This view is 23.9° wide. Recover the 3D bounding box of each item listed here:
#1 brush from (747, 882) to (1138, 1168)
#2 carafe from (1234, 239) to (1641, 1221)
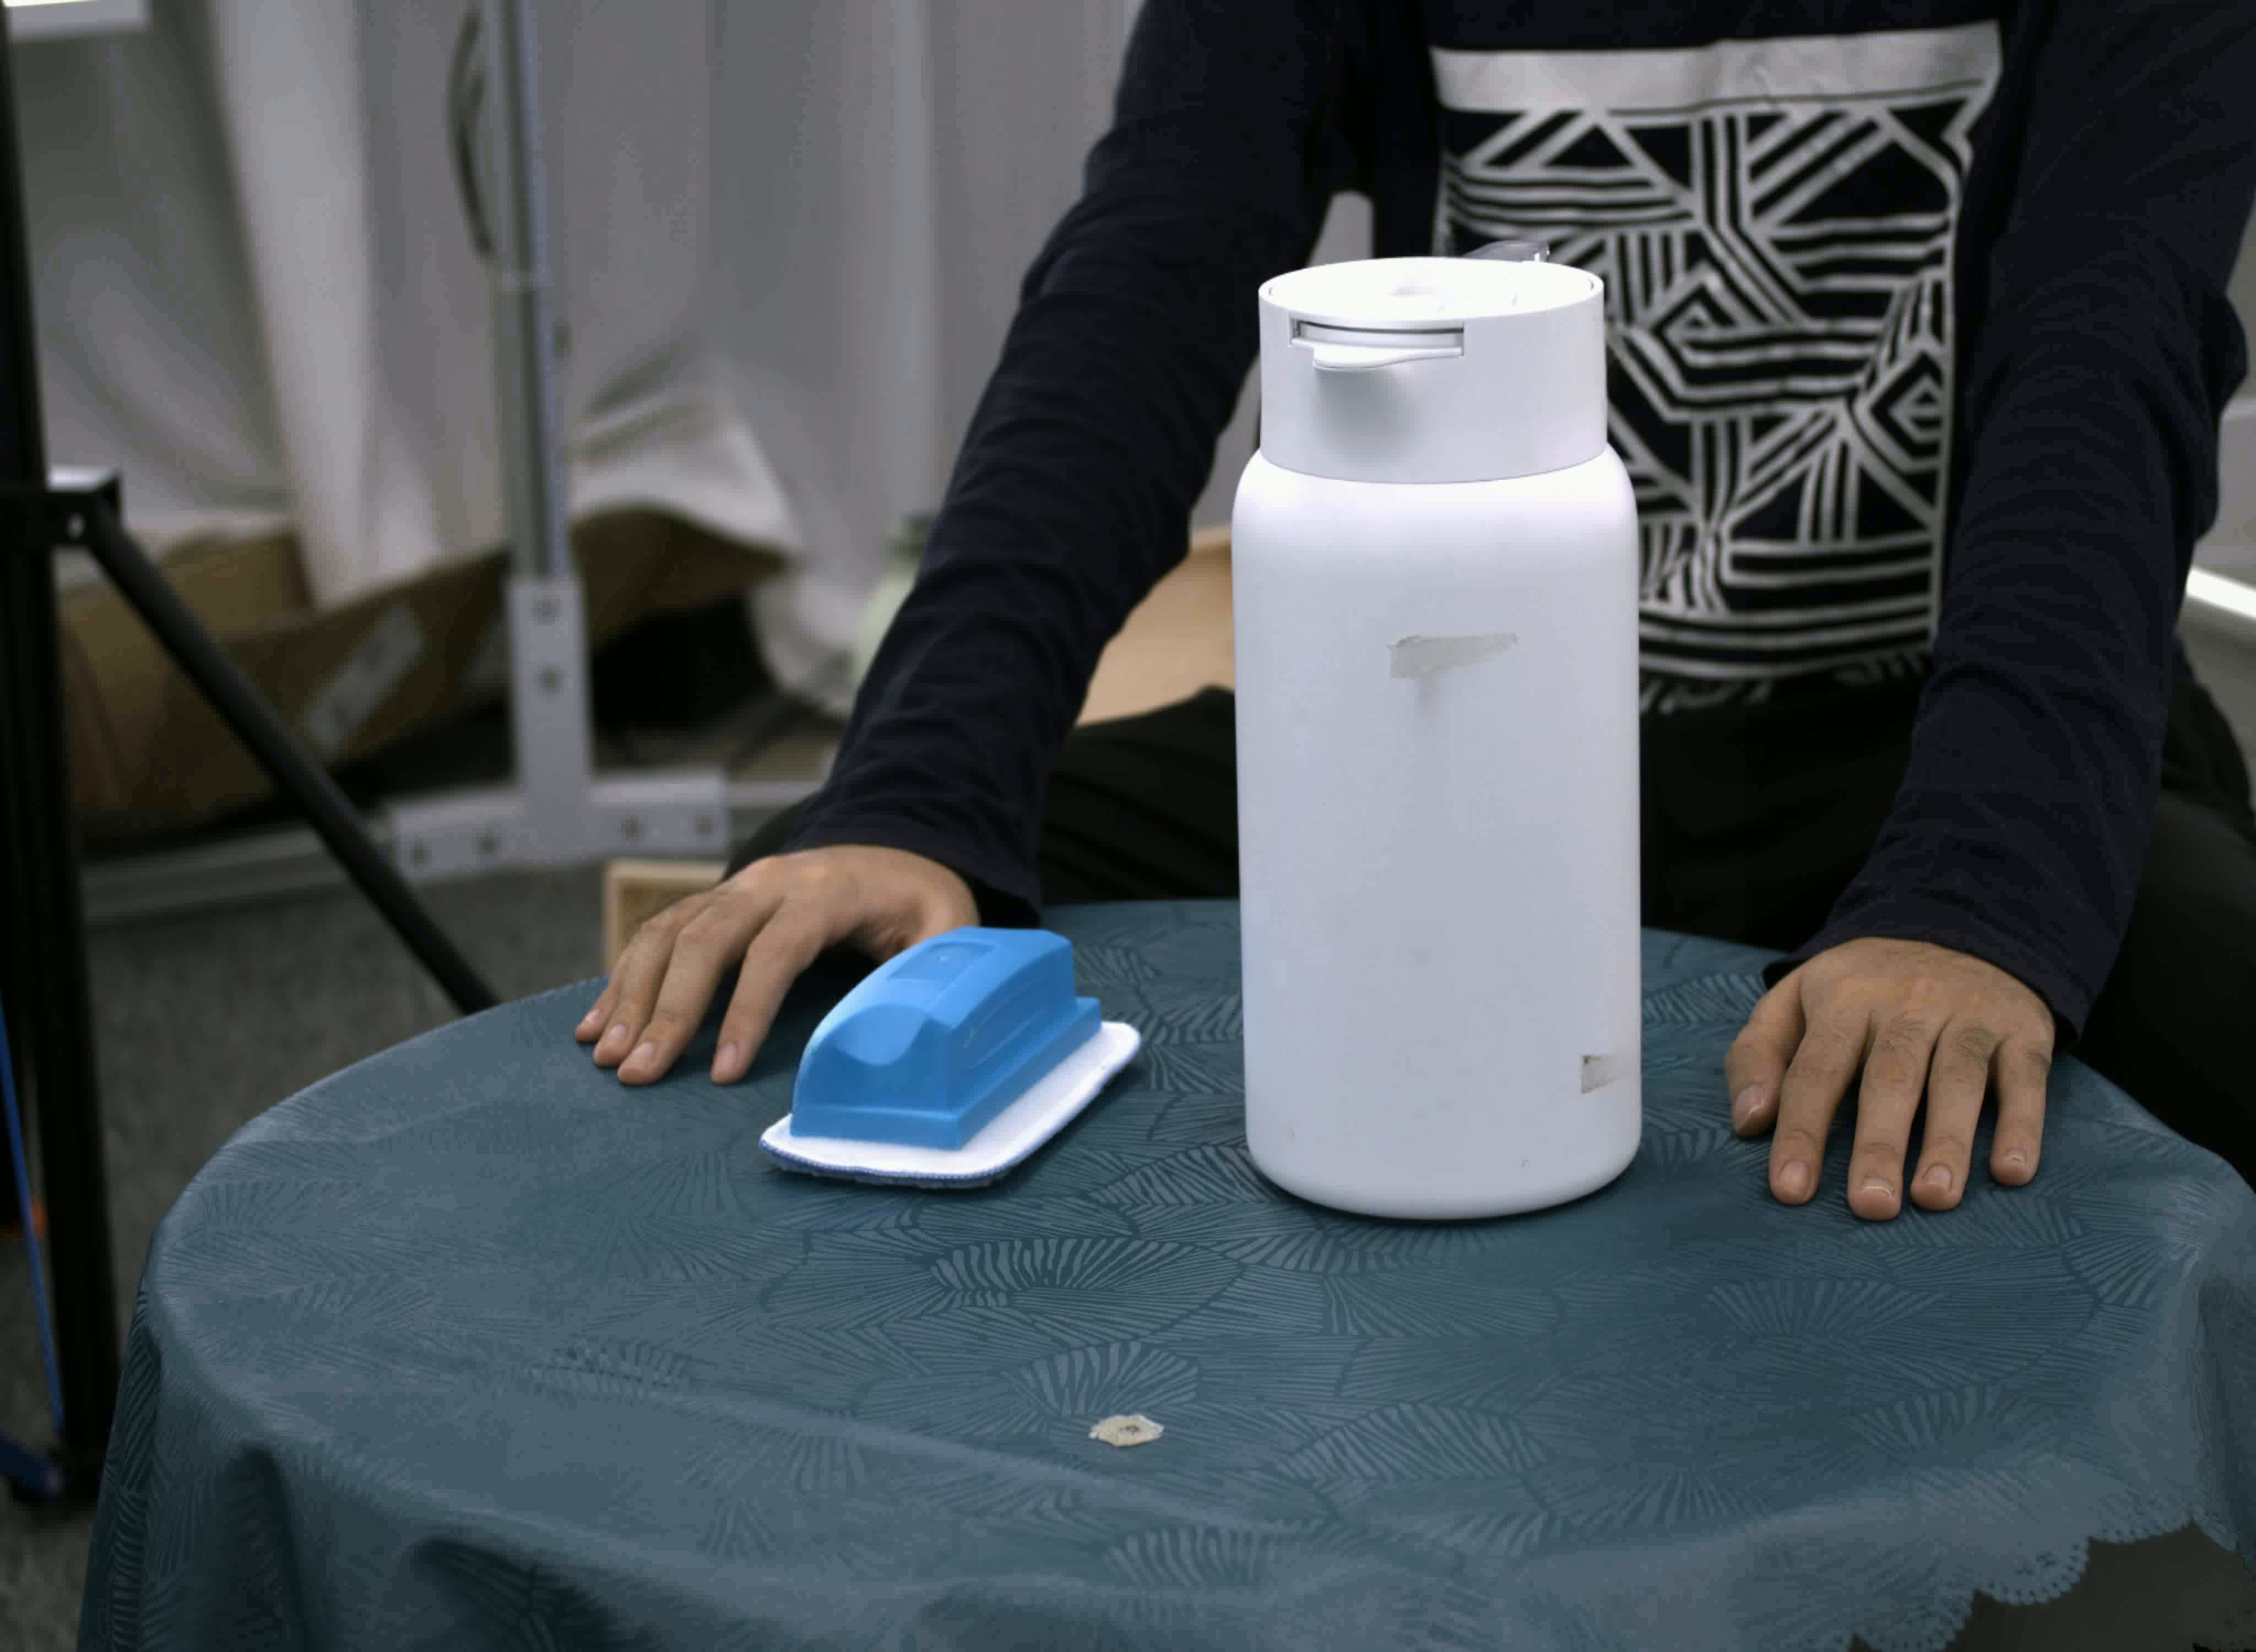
[{"bbox_3d":[-0.055,0.057,1.633,0.085,0.056,0.142,7,22,22],"label":"brush"},{"bbox_3d":[0.095,-0.032,1.553,0.125,0.269,0.170,3,15,25],"label":"carafe"}]
